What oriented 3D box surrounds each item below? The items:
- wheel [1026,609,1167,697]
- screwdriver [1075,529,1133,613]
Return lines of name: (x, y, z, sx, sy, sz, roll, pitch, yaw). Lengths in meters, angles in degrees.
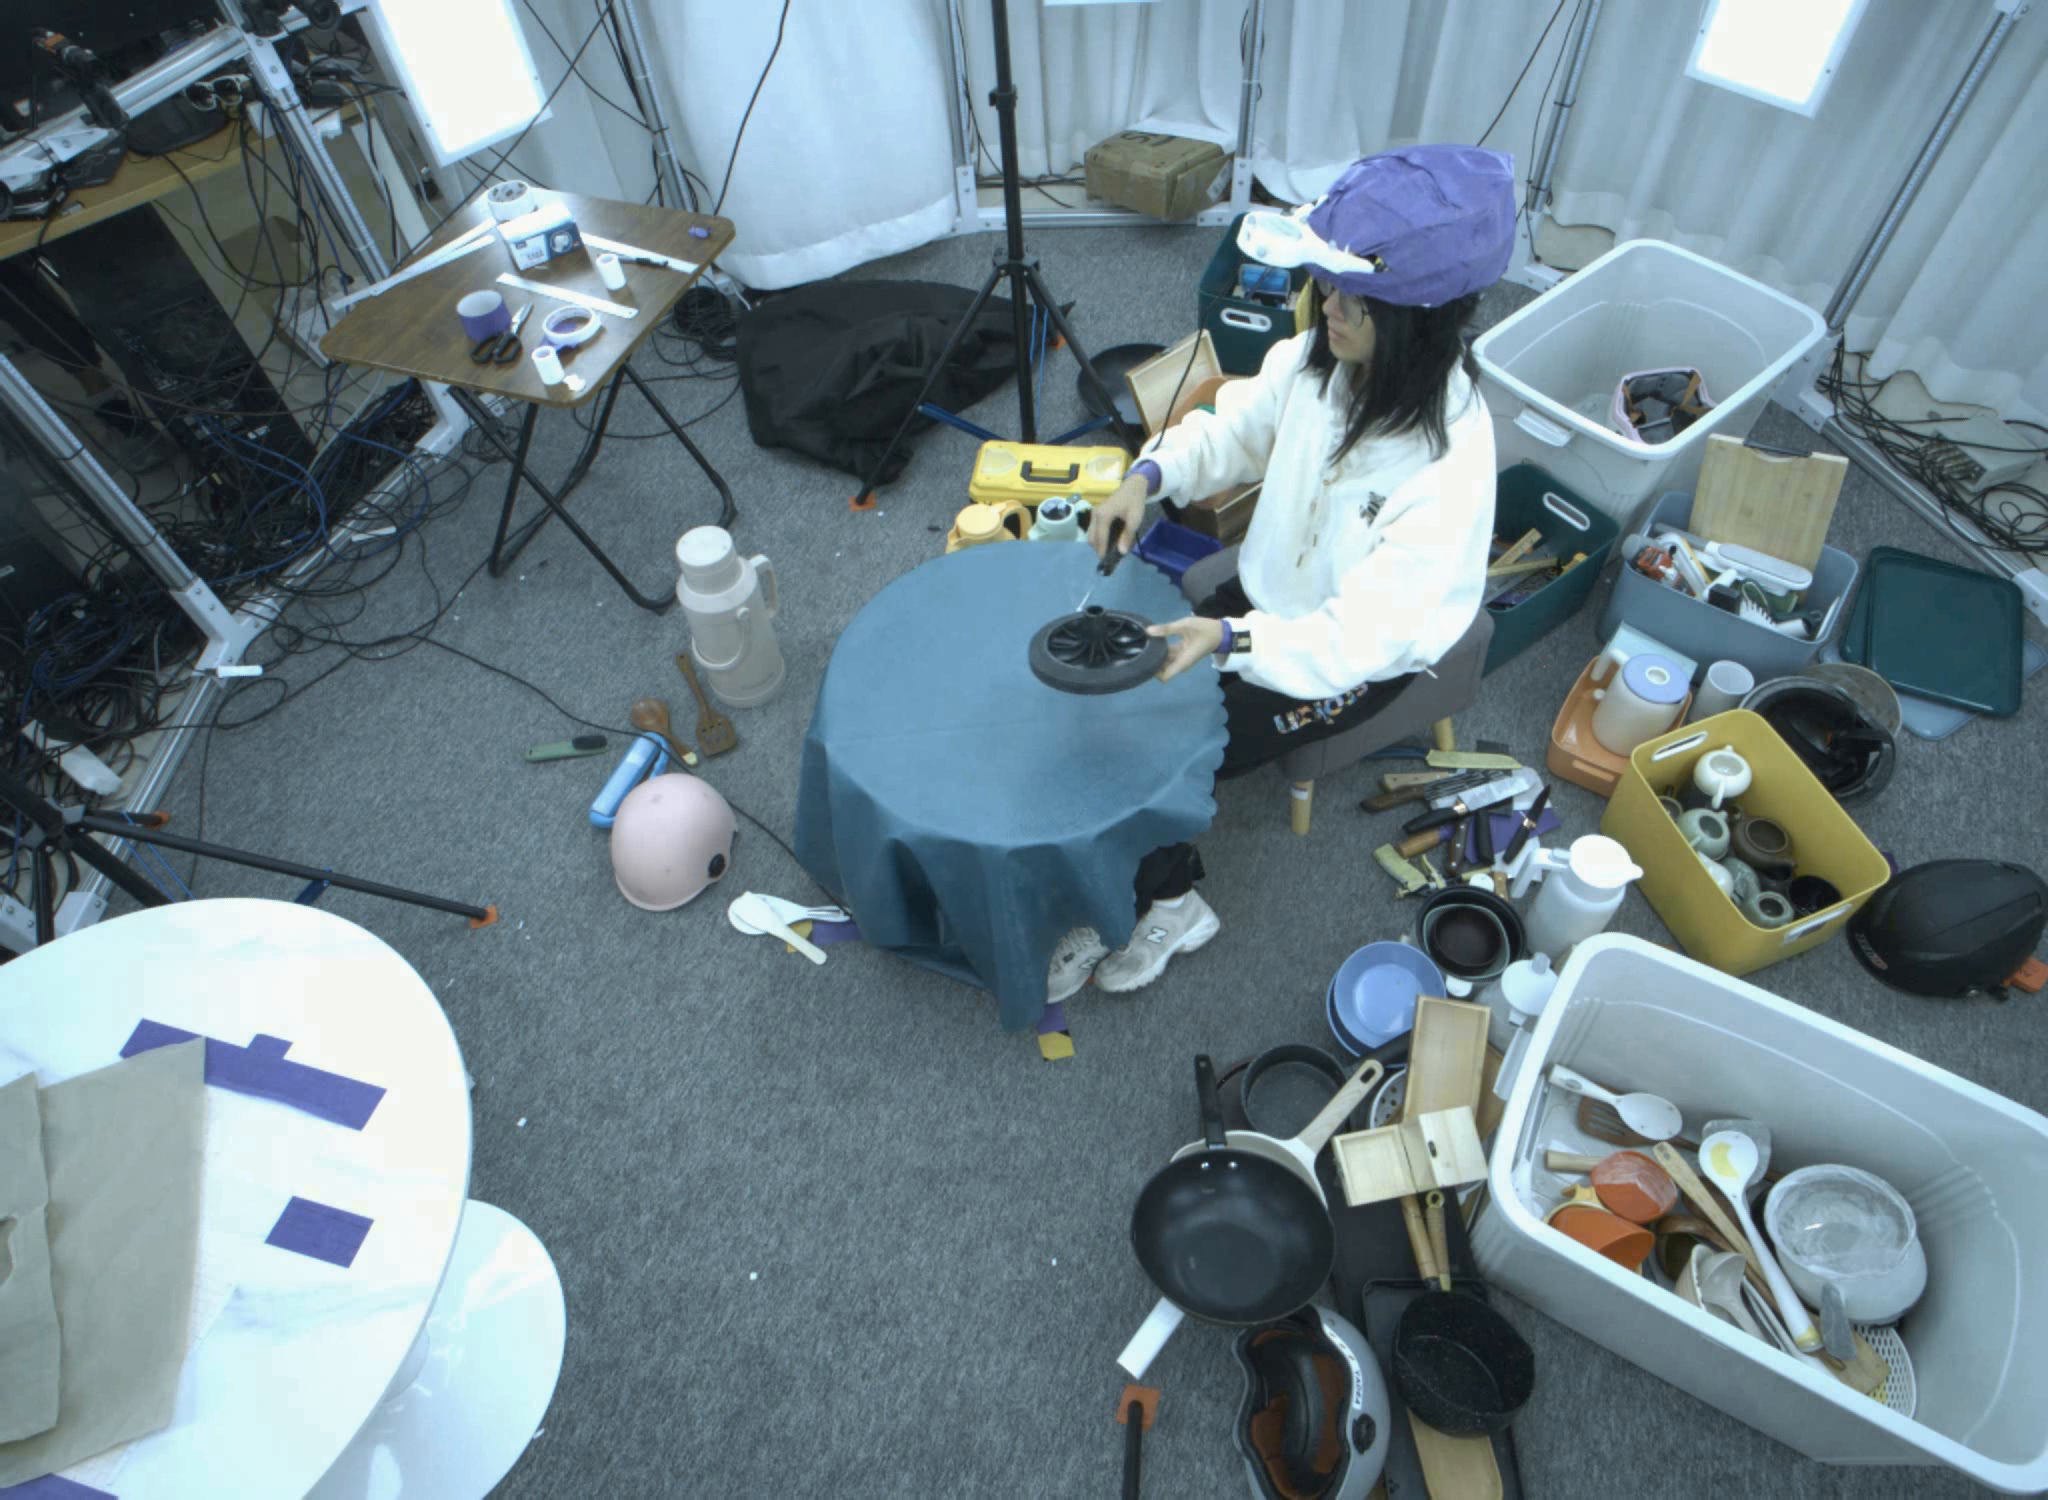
wheel: (0.095, -0.148, 1.648, 0.189, 0.080, 0.186, -3, 37, 6)
screwdriver: (0.114, -0.261, 1.773, 0.031, 0.032, 0.196, 18, 47, 15)
